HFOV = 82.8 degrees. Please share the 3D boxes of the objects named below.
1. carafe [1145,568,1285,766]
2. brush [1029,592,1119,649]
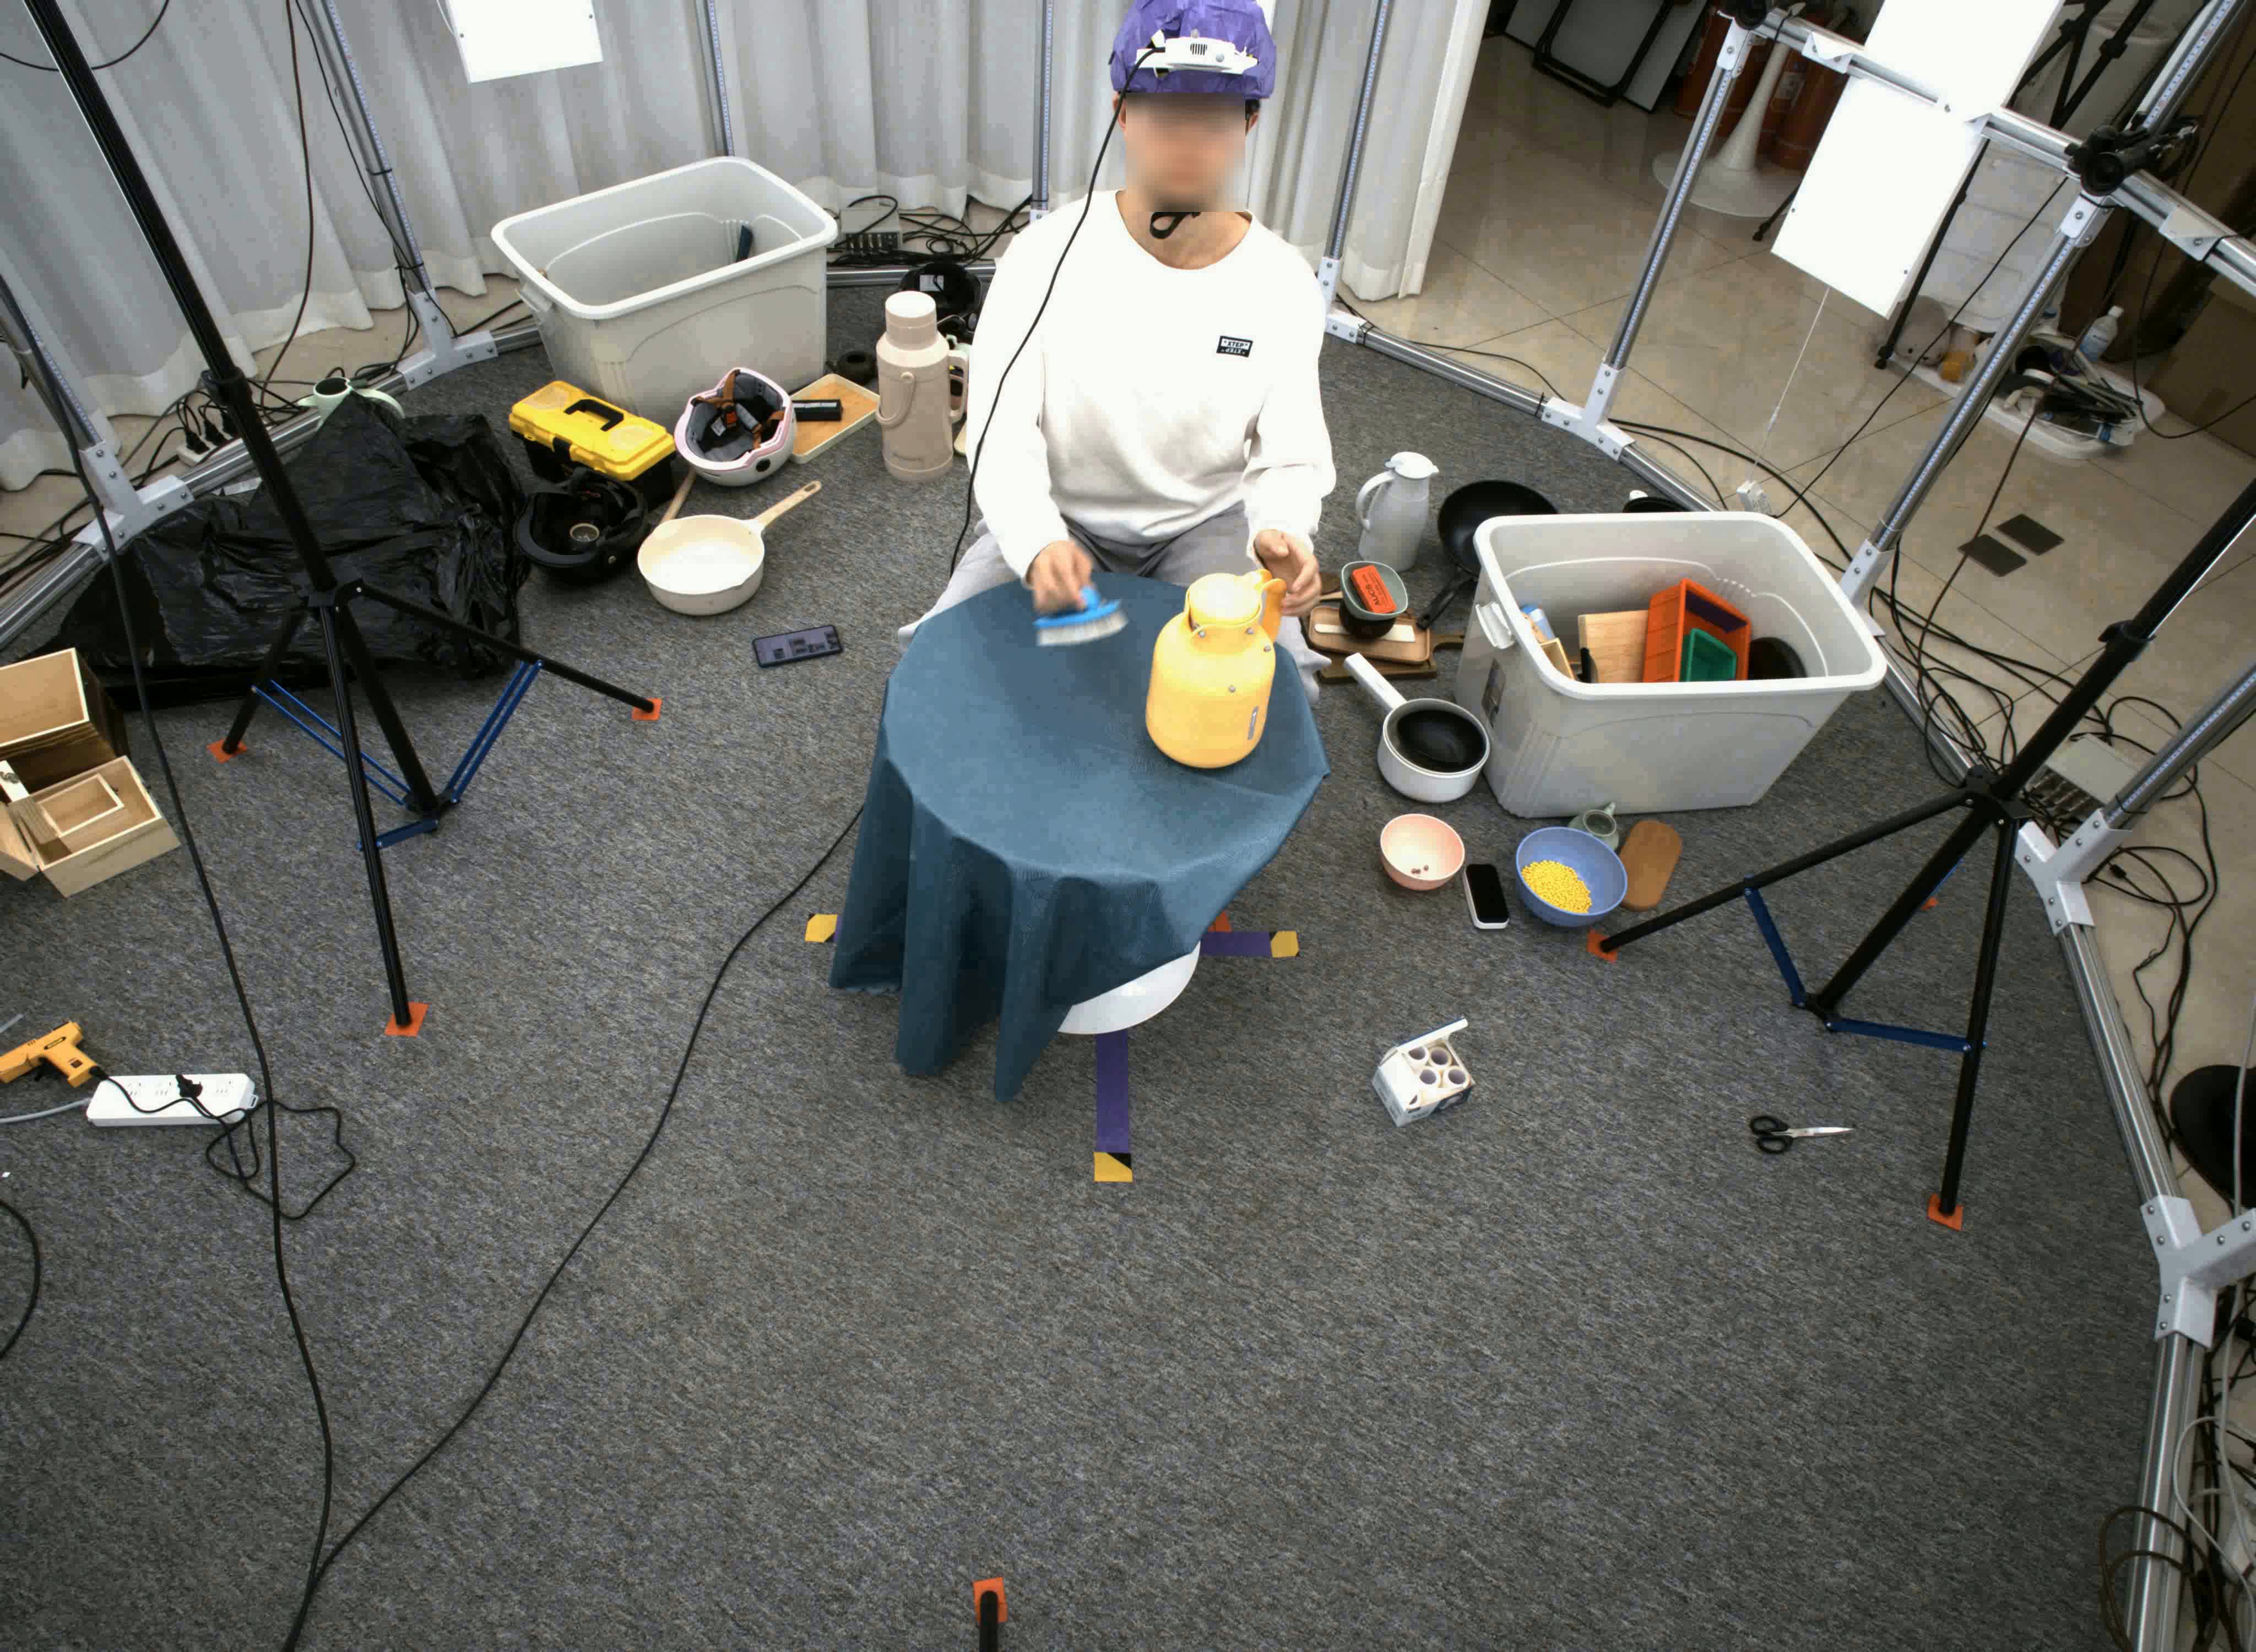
[{"bbox_3d":[0.125,-0.220,1.696,0.204,0.254,0.166,-35,63,-28],"label":"carafe"},{"bbox_3d":[-0.078,-0.278,1.710,0.085,0.063,0.143,-31,23,-32],"label":"brush"}]
